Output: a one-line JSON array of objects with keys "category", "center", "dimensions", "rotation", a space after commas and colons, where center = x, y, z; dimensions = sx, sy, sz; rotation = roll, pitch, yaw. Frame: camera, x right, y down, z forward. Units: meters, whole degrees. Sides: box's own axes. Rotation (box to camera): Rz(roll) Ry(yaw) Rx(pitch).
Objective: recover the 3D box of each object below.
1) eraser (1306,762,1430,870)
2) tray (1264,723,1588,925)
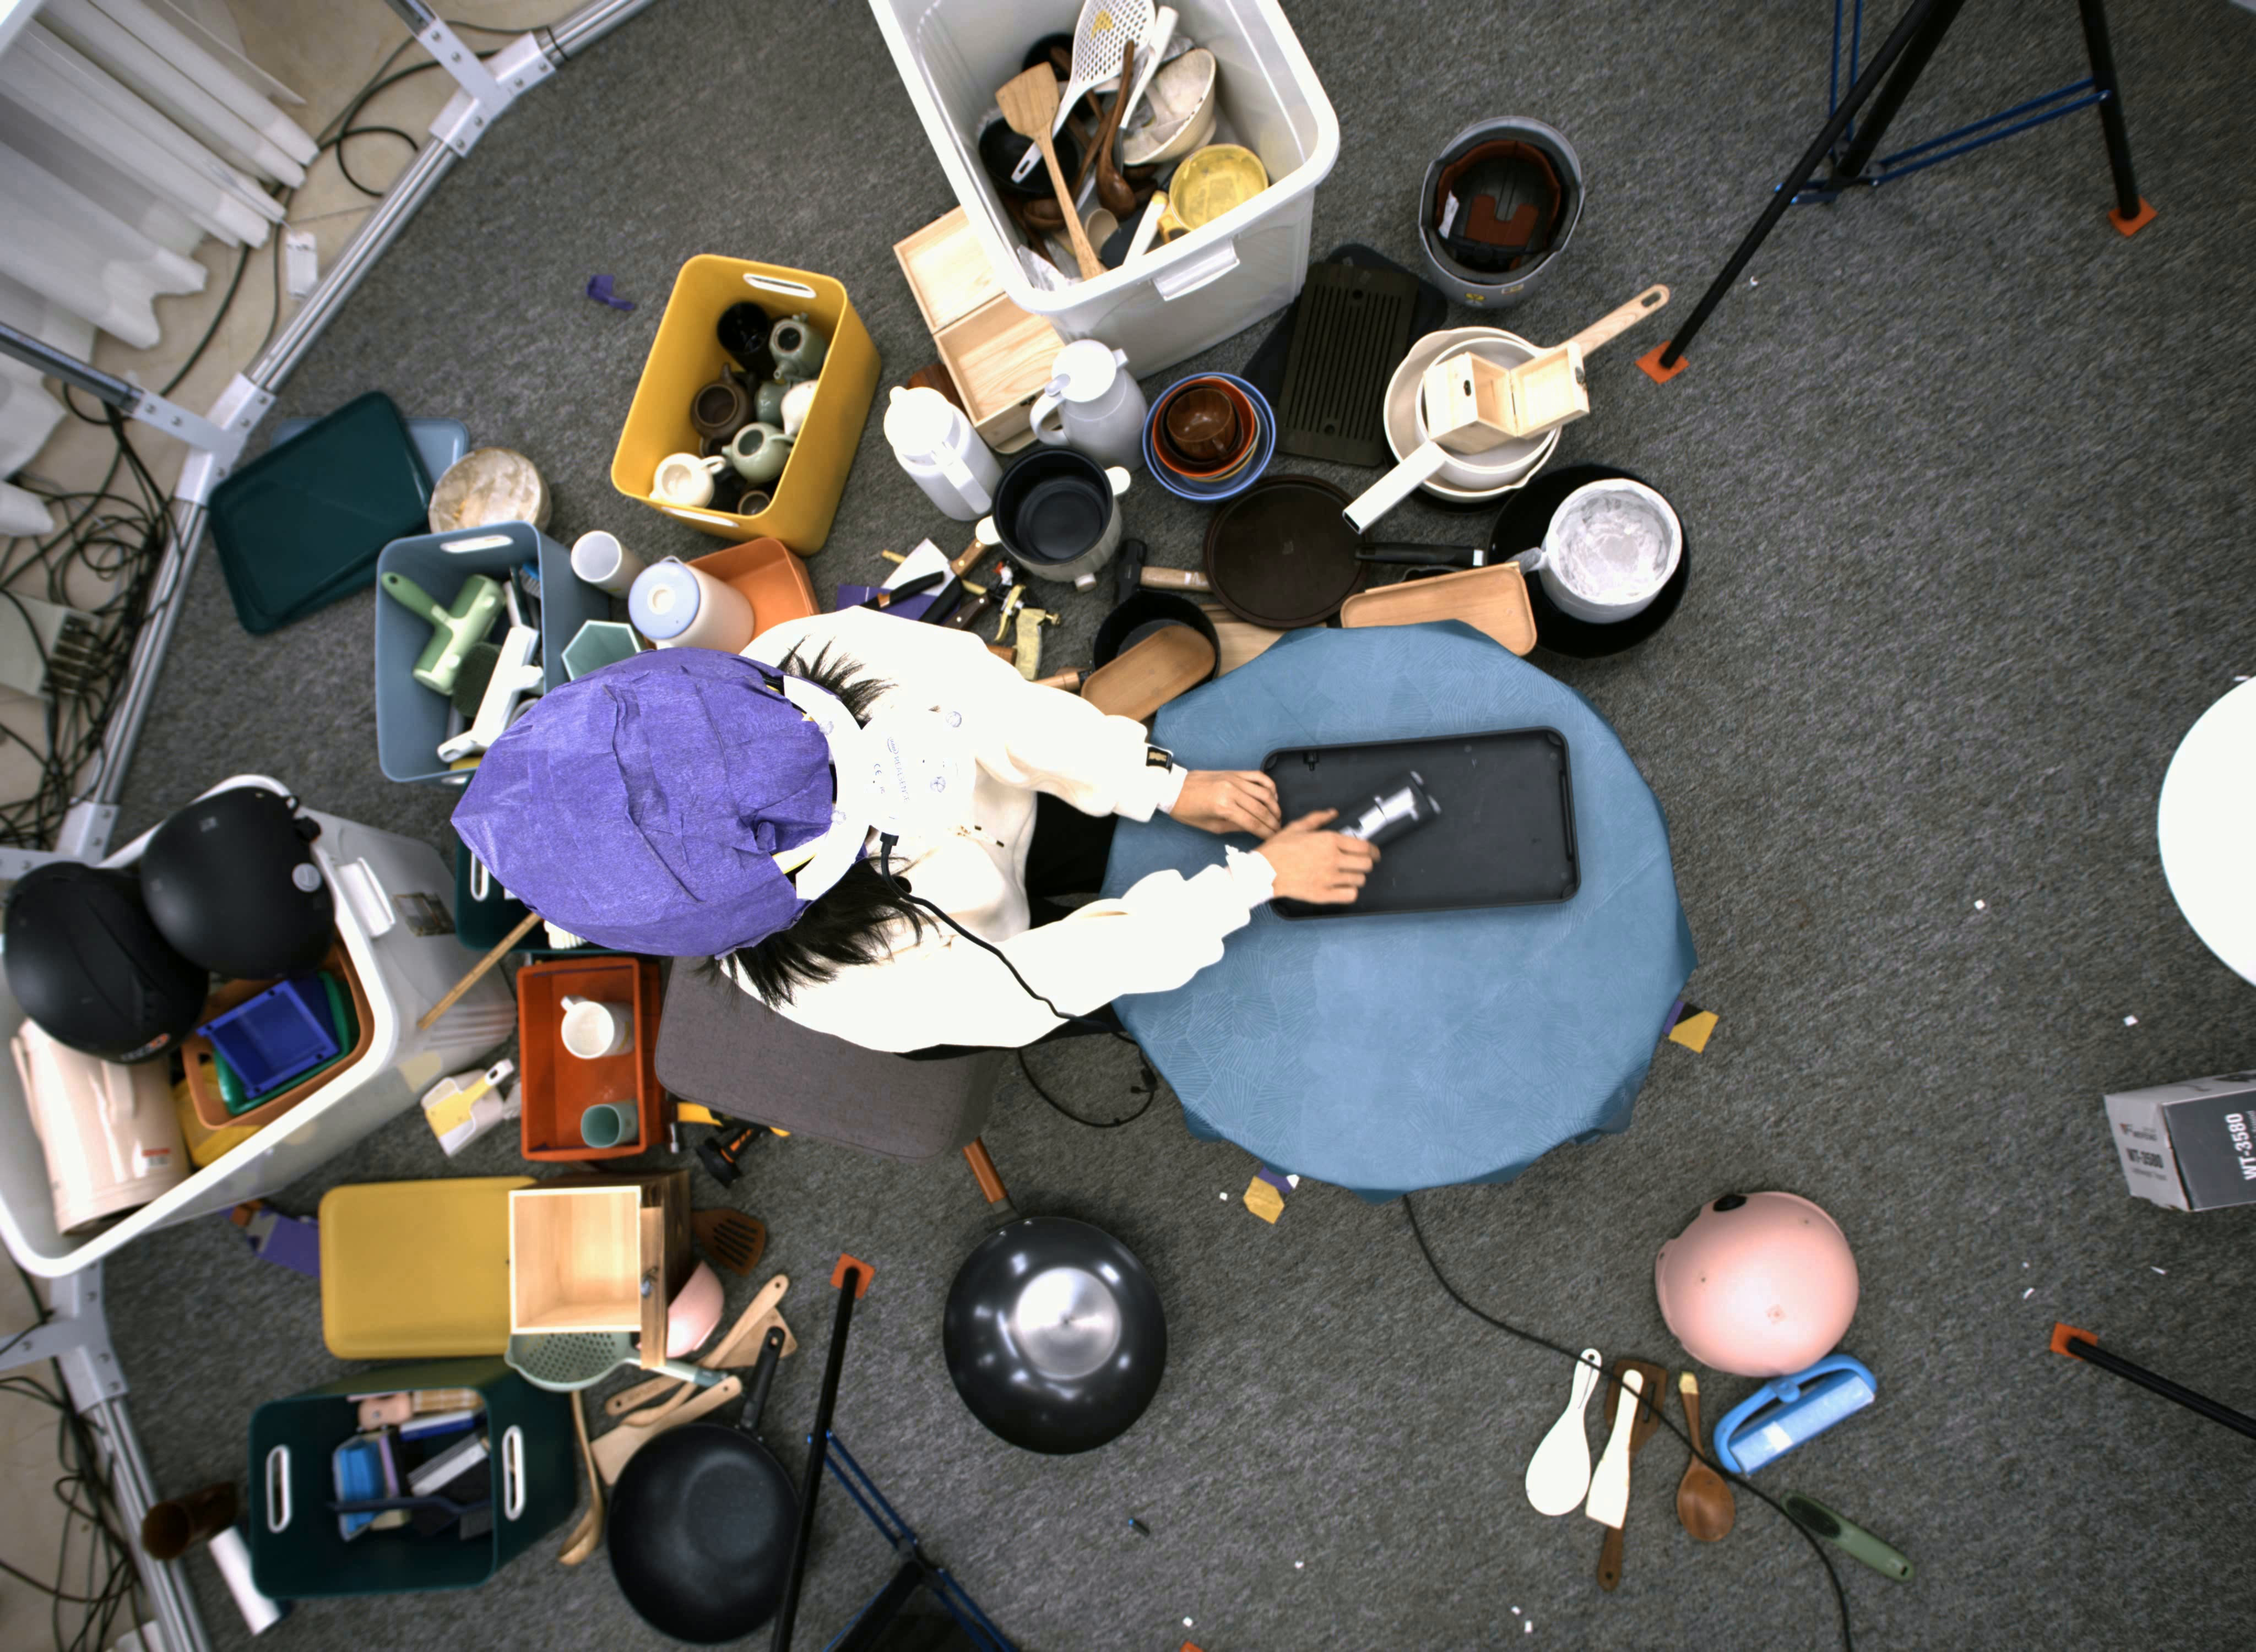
[{"category": "eraser", "center": [0.253, -0.012, 1.449], "dimensions": [0.126, 0.030, 0.053], "rotation": [-36, 75, 7]}, {"category": "tray", "center": [0.308, -0.002, 1.438], "dimensions": [0.319, 0.037, 0.183], "rotation": [-6, 85, 11]}]
